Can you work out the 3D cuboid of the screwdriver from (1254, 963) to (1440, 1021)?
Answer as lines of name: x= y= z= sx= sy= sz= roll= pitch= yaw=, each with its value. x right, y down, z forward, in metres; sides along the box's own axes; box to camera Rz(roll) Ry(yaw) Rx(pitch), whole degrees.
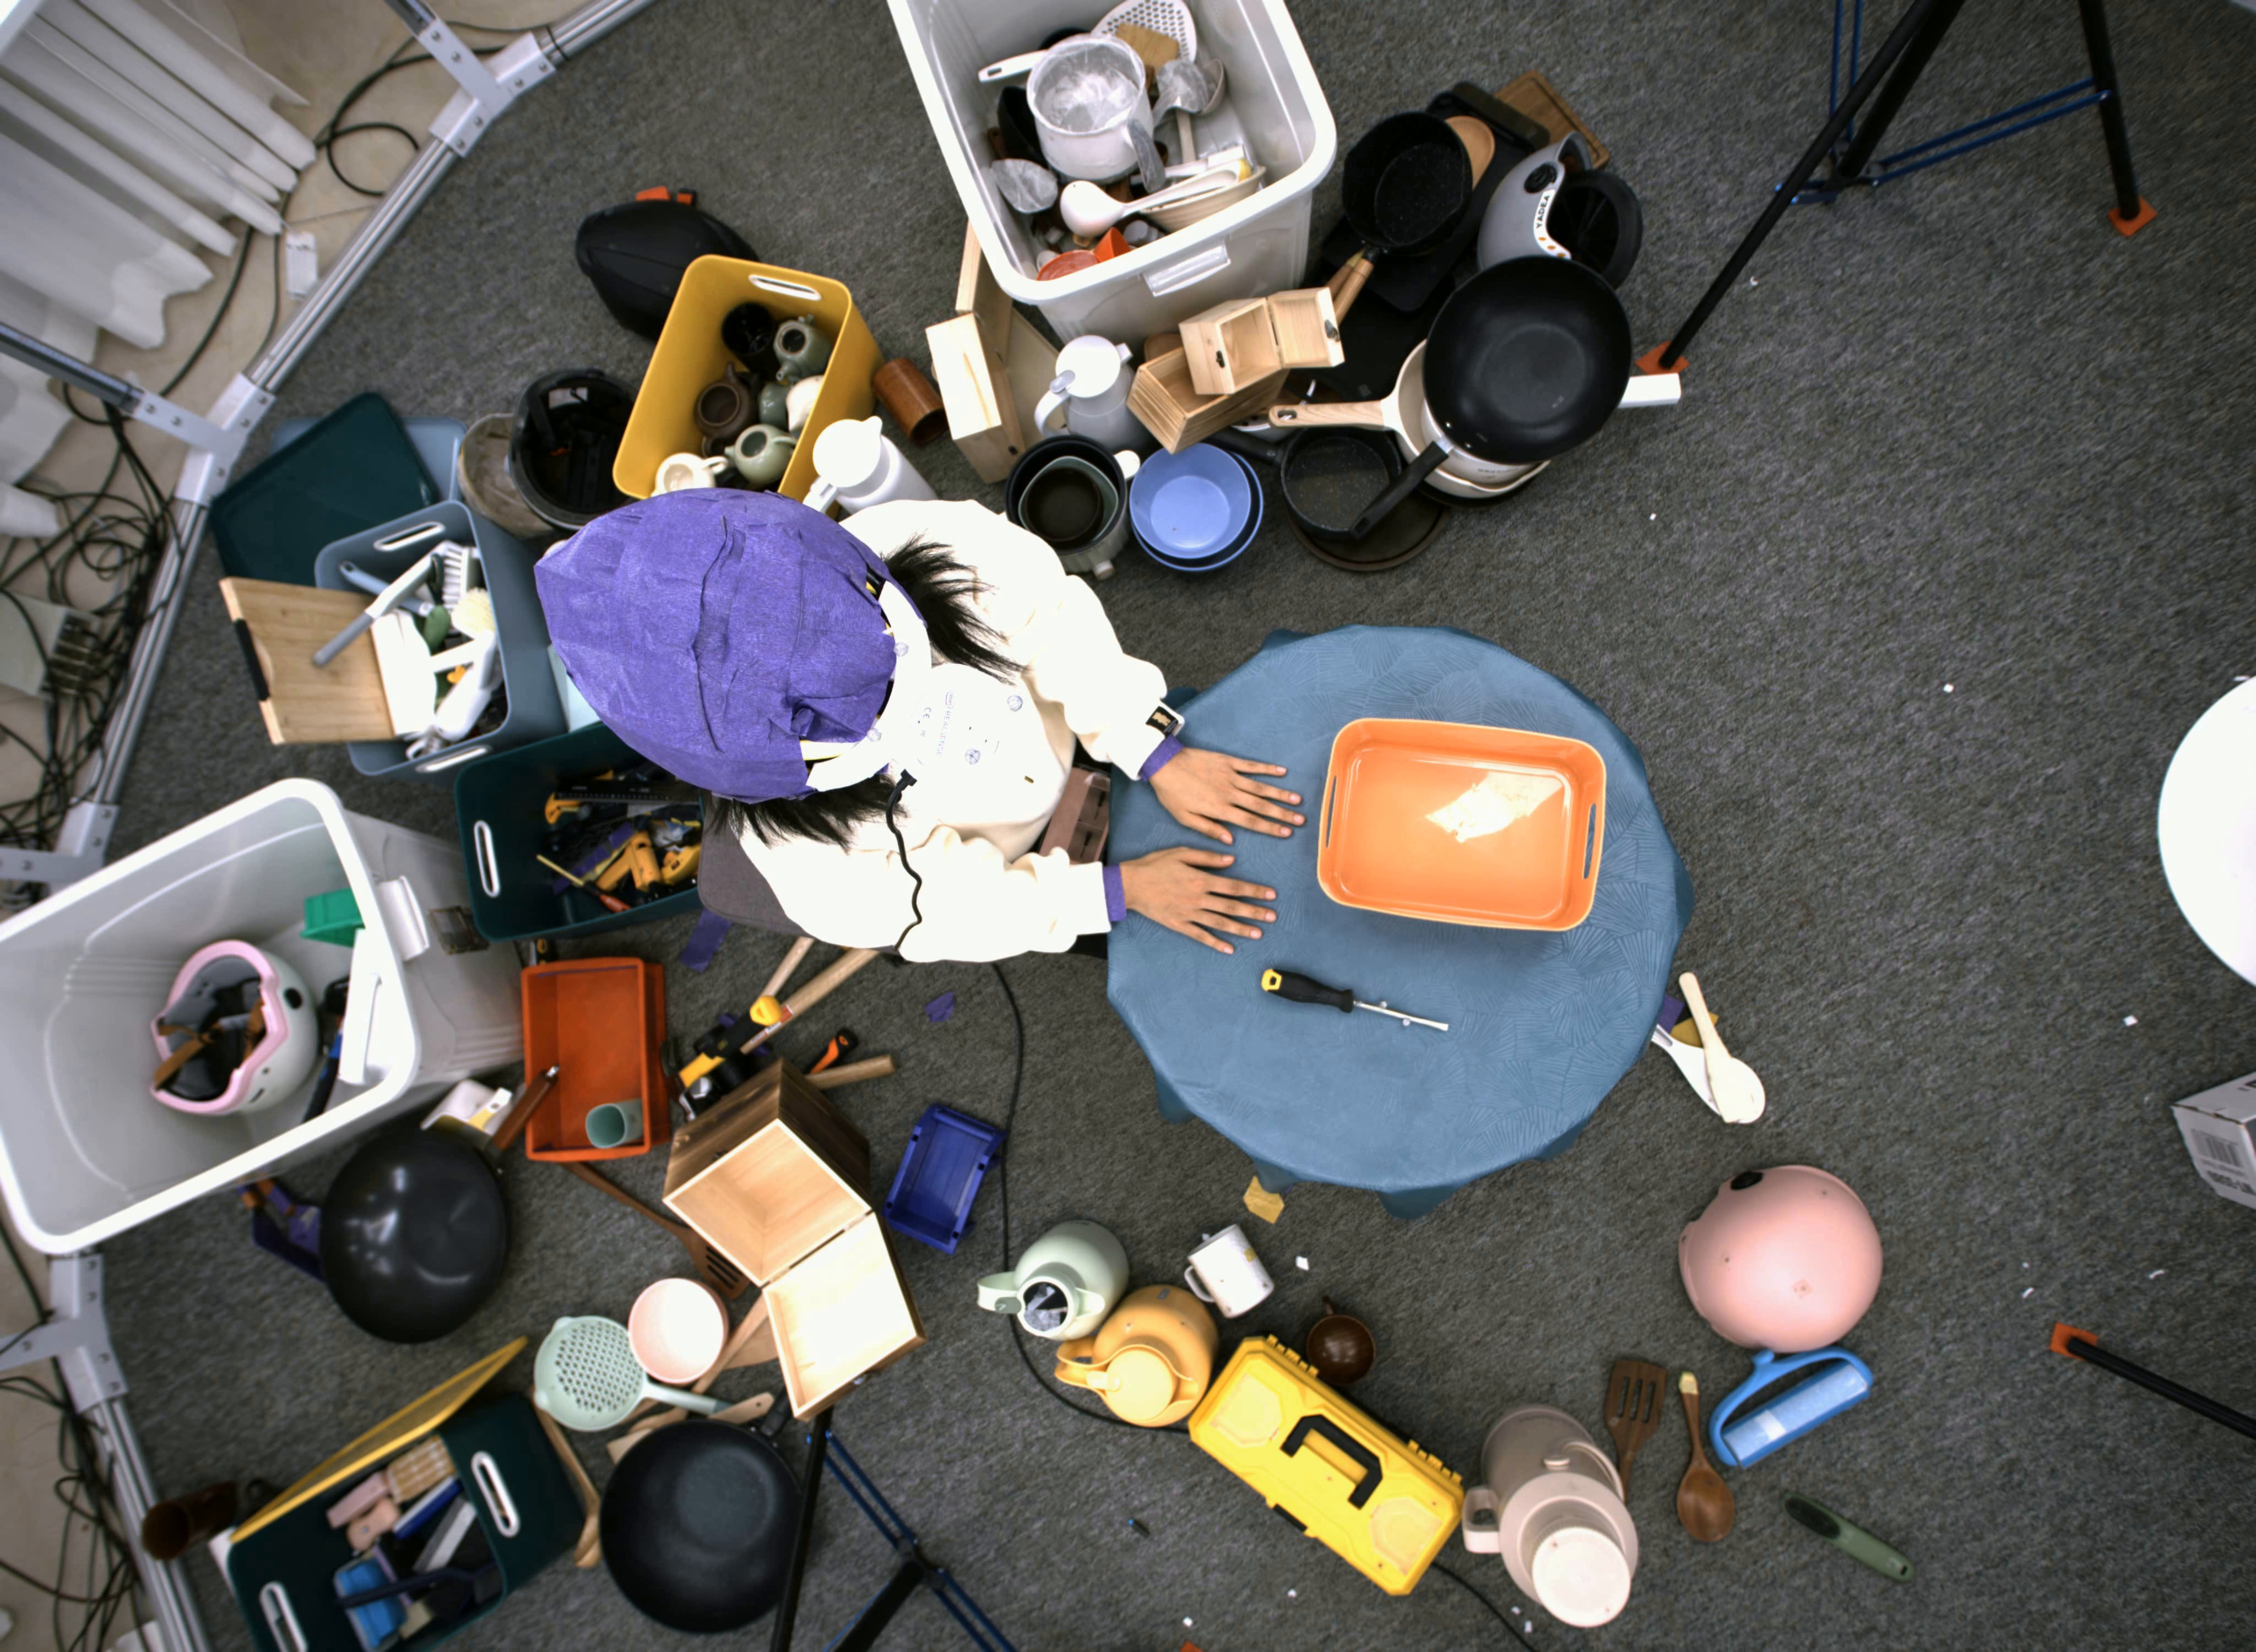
screwdriver: x=0.228 y=0.172 z=1.439 sx=0.198 sy=0.031 sz=0.031 roll=11 pitch=87 yaw=2

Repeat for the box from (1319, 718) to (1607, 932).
box: x=0.336 y=-0.001 z=1.399 sx=0.274 sy=0.102 sz=0.199 roll=6 pitch=88 yaw=11
